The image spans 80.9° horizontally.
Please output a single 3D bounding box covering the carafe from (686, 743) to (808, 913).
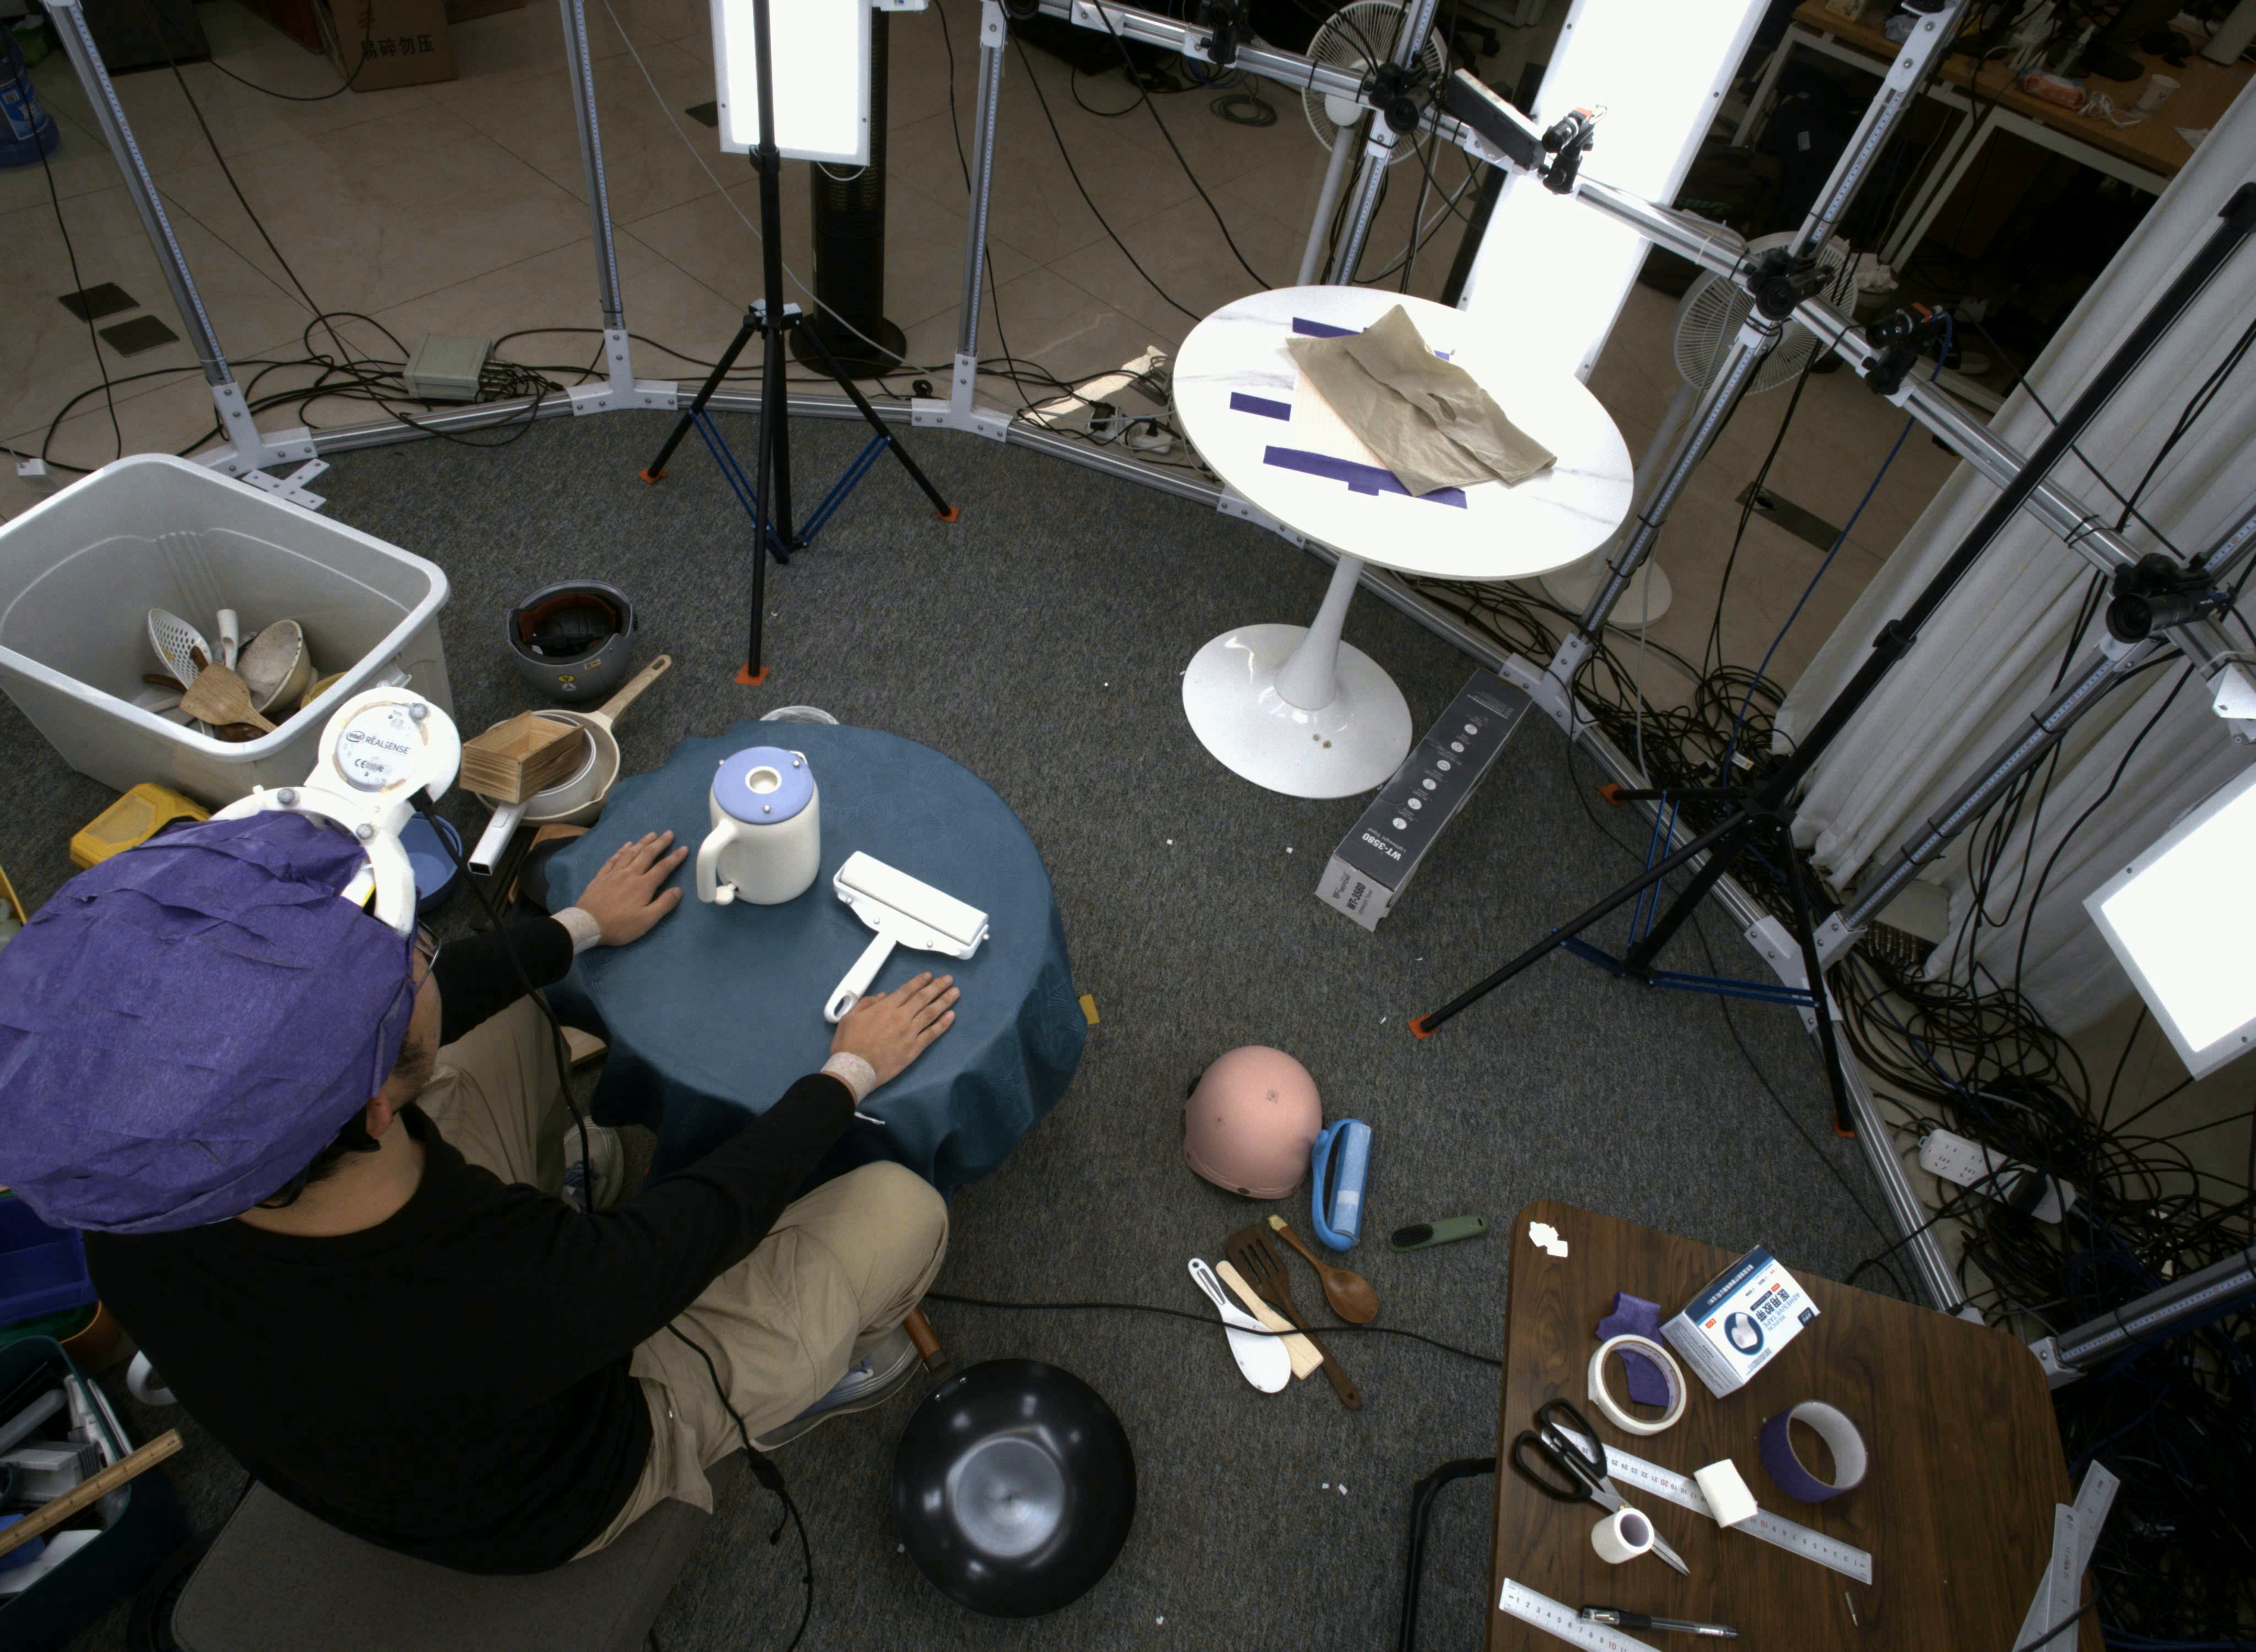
[{"bbox_3d":[-0.476,0.015,1.582,0.130,0.186,0.190,28,54,10],"label":"carafe"}]

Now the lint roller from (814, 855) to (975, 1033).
[{"bbox_3d":[-0.323,0.155,1.602,0.200,0.049,0.224,25,53,3],"label":"lint roller"}]
